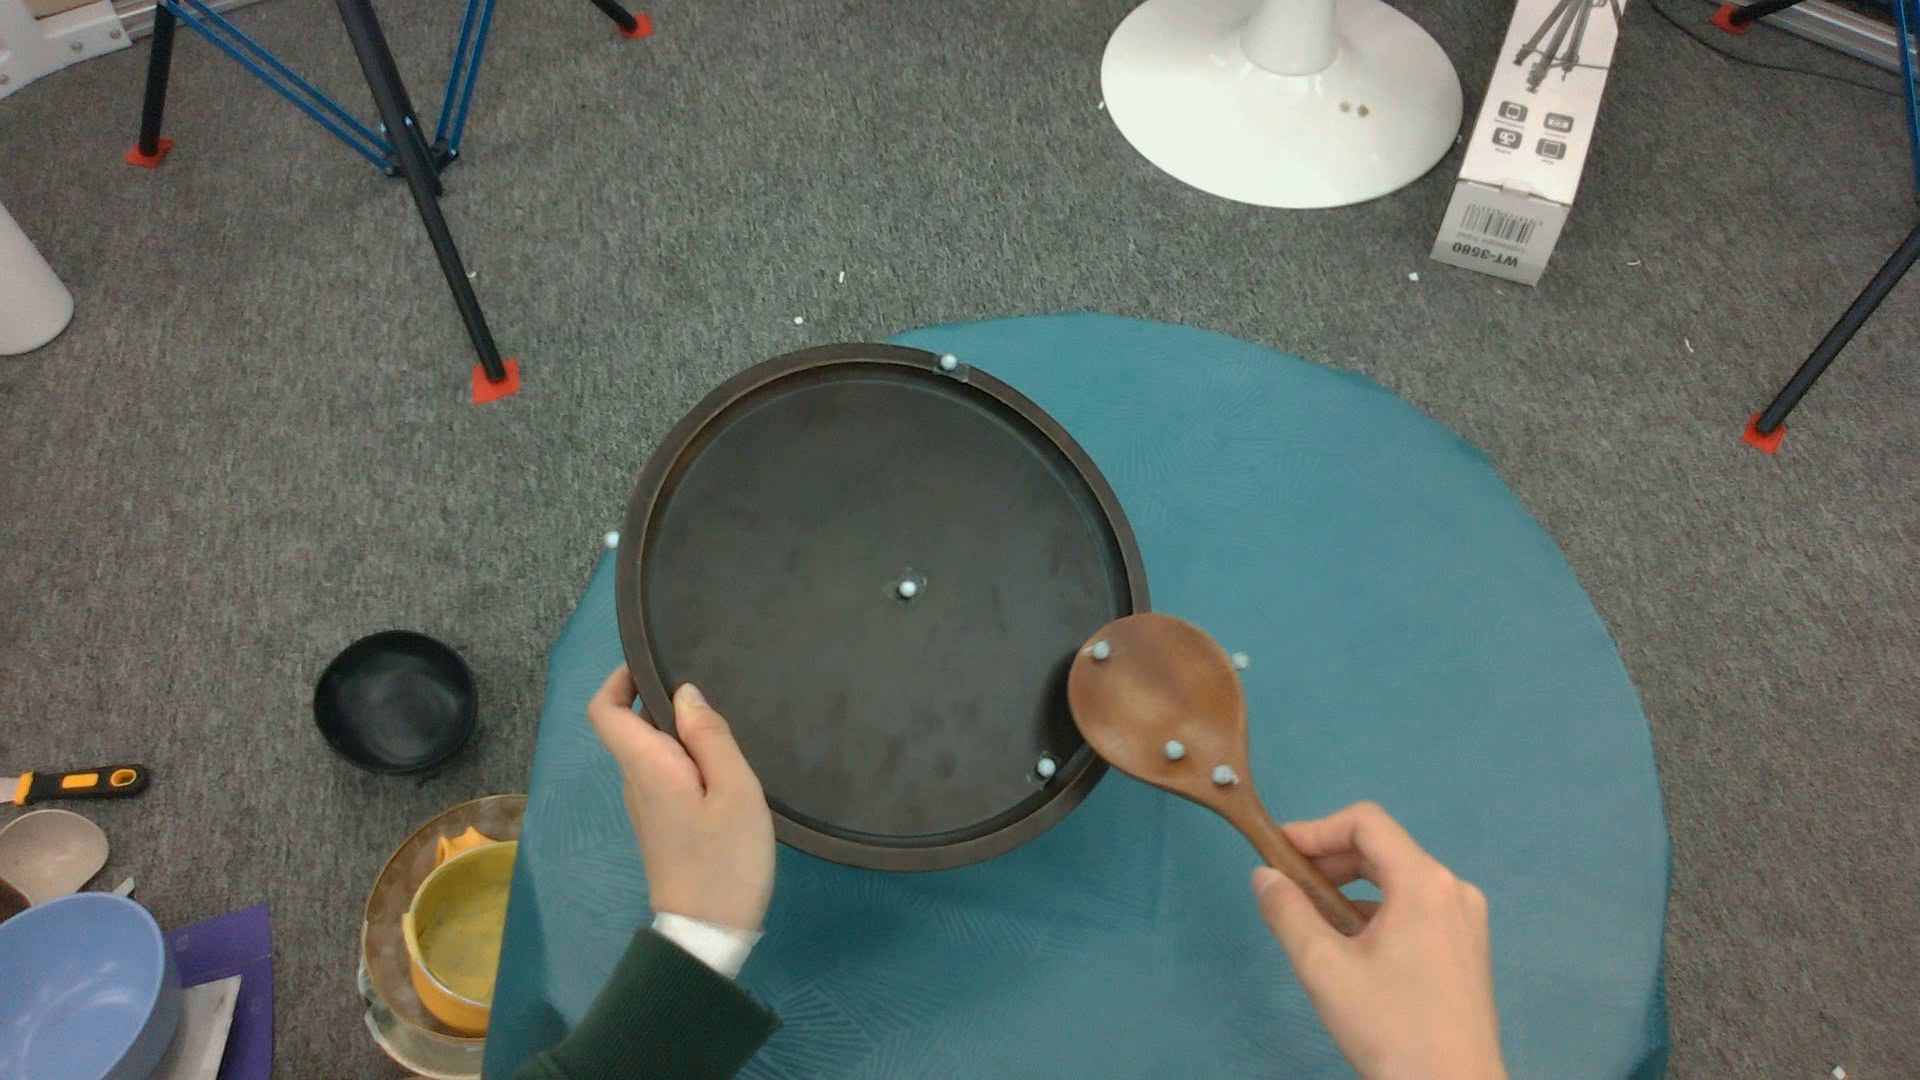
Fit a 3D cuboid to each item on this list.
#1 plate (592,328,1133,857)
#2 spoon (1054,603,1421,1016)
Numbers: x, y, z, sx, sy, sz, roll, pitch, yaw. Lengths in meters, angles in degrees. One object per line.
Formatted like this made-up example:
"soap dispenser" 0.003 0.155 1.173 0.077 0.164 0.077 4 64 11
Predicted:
"plate" -0.039 0.019 0.635 0.255 0.029 0.255 7 66 -17
"spoon" 0.112 0.105 0.573 0.075 0.017 0.216 -31 49 -8
